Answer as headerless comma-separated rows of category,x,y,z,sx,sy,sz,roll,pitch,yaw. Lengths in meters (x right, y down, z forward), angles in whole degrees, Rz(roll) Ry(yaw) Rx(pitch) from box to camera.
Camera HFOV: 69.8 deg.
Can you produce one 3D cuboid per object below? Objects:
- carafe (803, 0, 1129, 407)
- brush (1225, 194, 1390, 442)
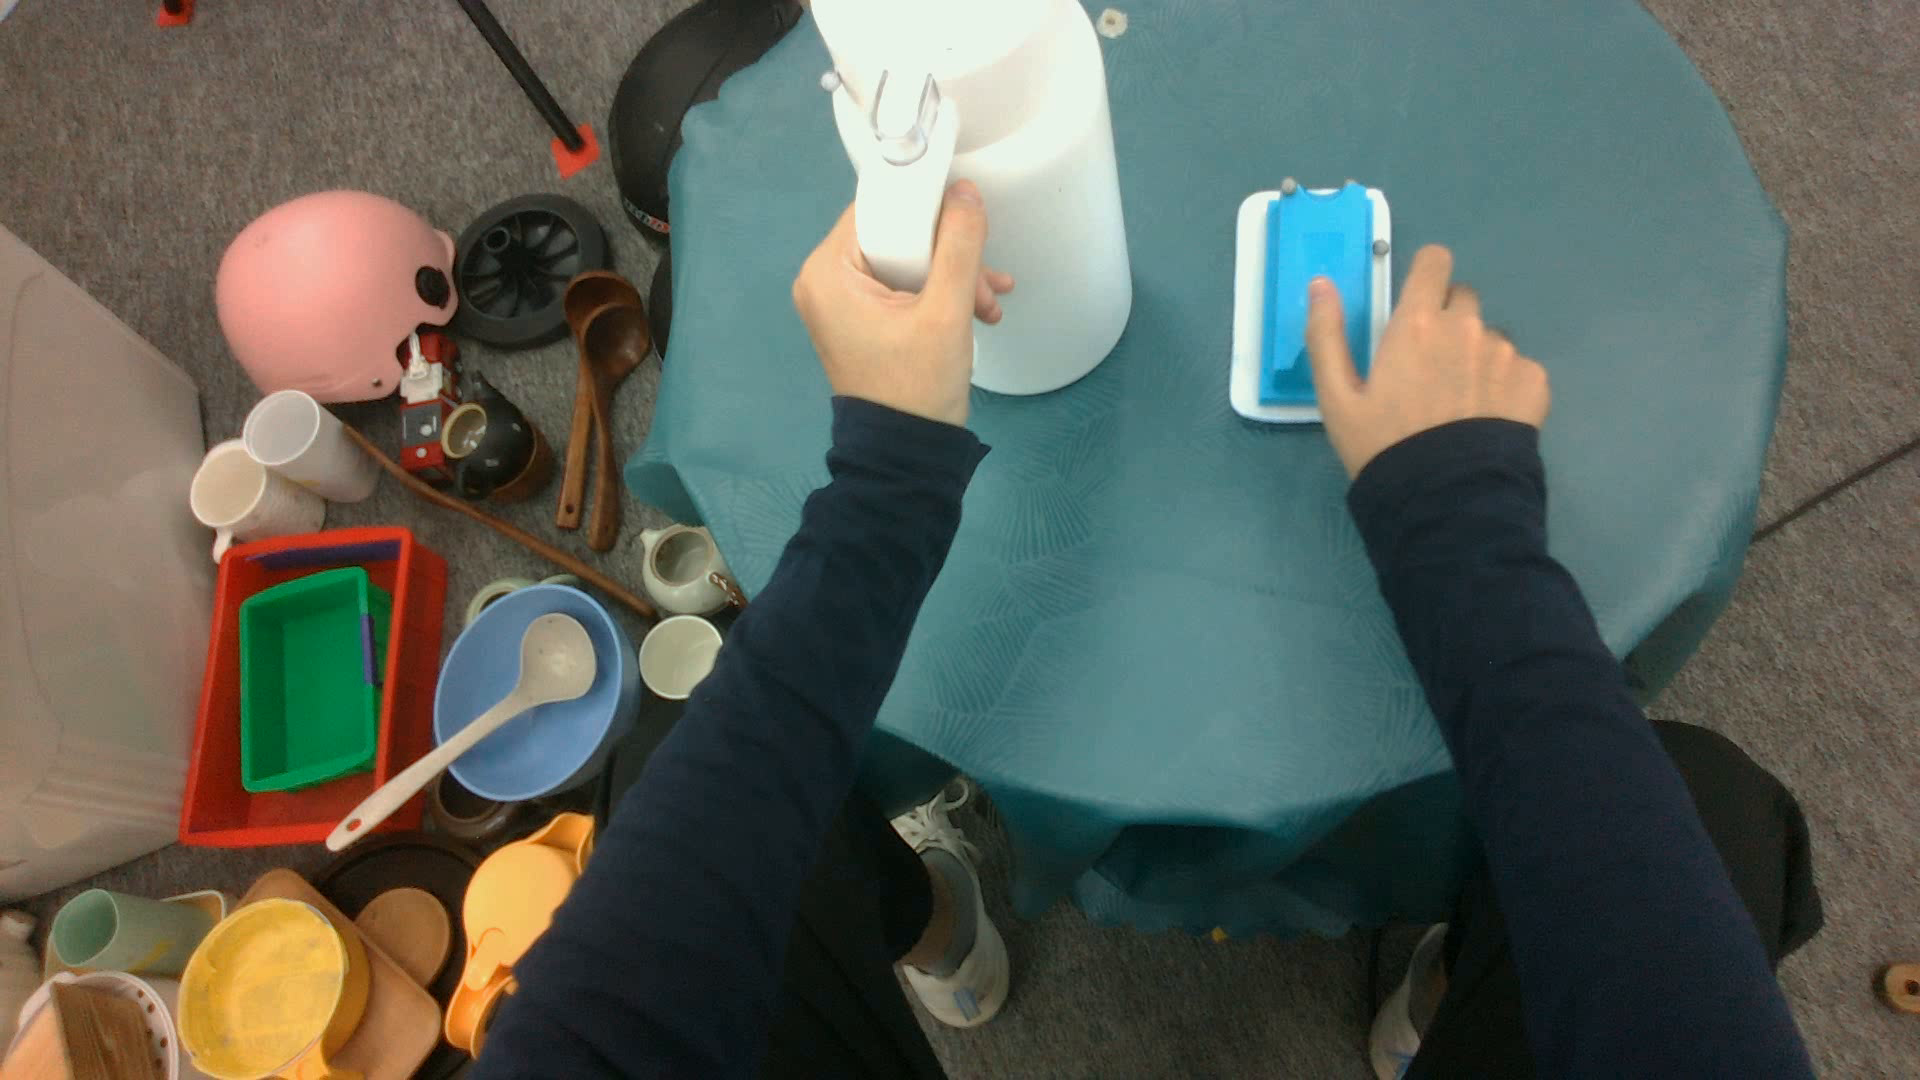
carafe,0.011,-0.153,0.660,0.124,0.268,0.173,7,73,12
brush,0.184,-0.123,0.724,0.084,0.056,0.144,2,67,15
